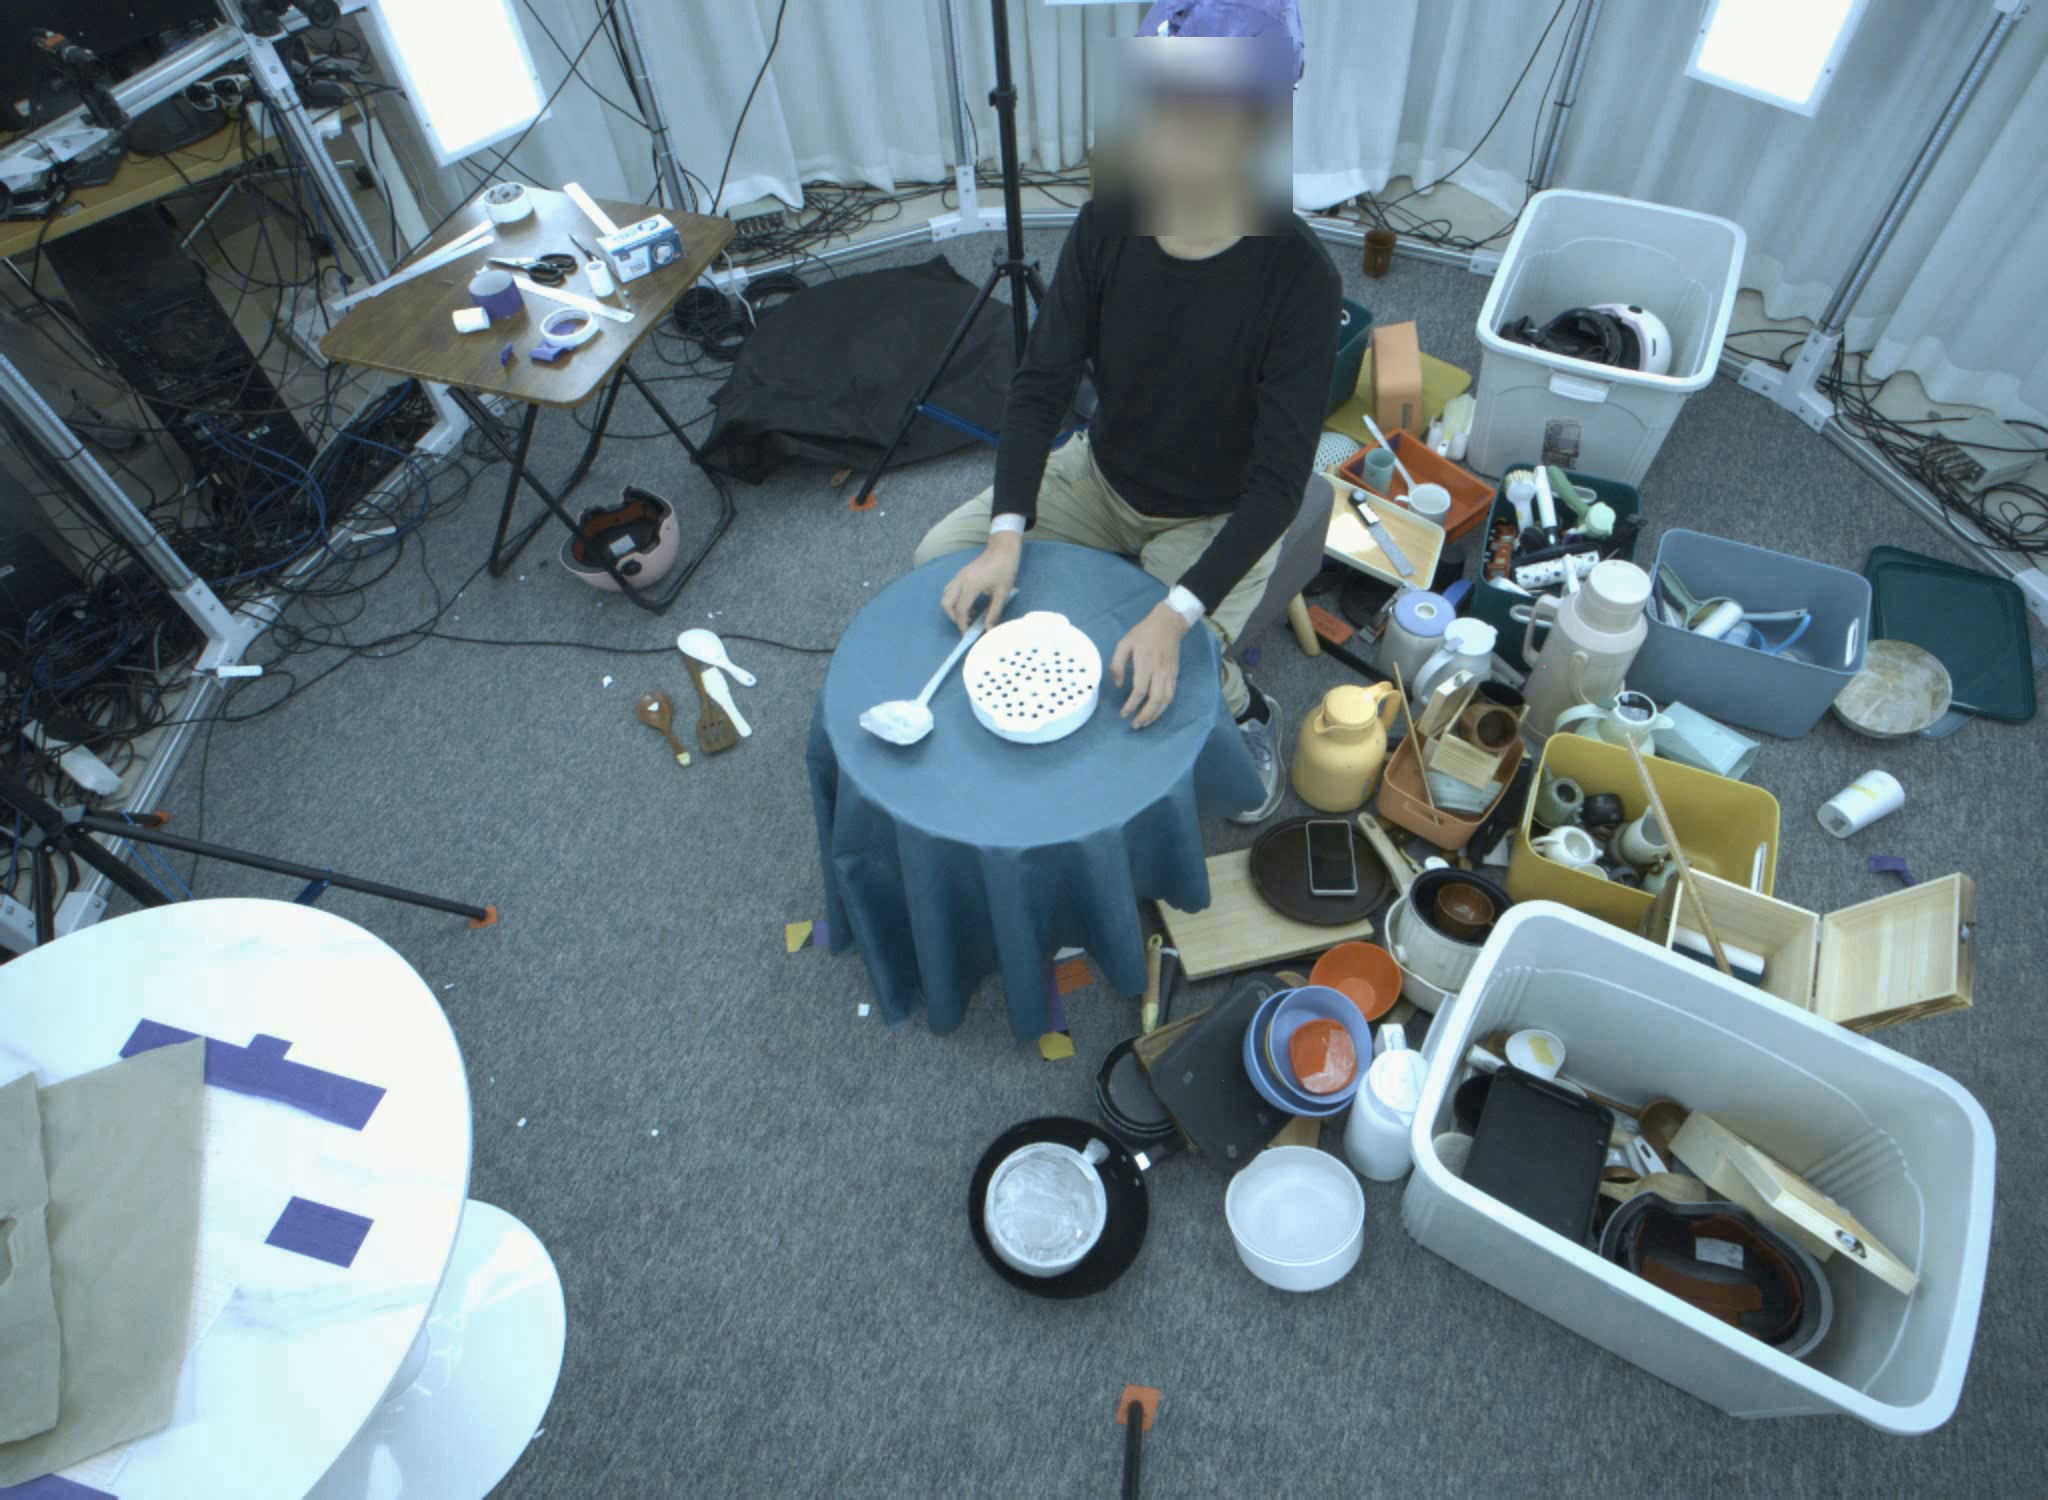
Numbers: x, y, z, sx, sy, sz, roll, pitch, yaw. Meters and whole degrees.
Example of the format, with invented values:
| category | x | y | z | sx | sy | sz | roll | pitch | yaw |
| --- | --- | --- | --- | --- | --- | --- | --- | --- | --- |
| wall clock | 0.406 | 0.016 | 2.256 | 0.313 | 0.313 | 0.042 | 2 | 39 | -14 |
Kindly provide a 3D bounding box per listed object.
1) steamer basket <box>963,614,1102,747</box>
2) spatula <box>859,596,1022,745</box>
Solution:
| category | x | y | z | sx | sy | sz | roll | pitch | yaw |
| --- | --- | --- | --- | --- | --- | --- | --- | --- | --- |
| steamer basket | 0.013 | -0.098 | 1.813 | 0.201 | 0.070 | 0.229 | 10 | 55 | 8 |
| spatula | -0.111 | -0.135 | 1.863 | 0.097 | 0.045 | 0.366 | 25 | 60 | 20 |
